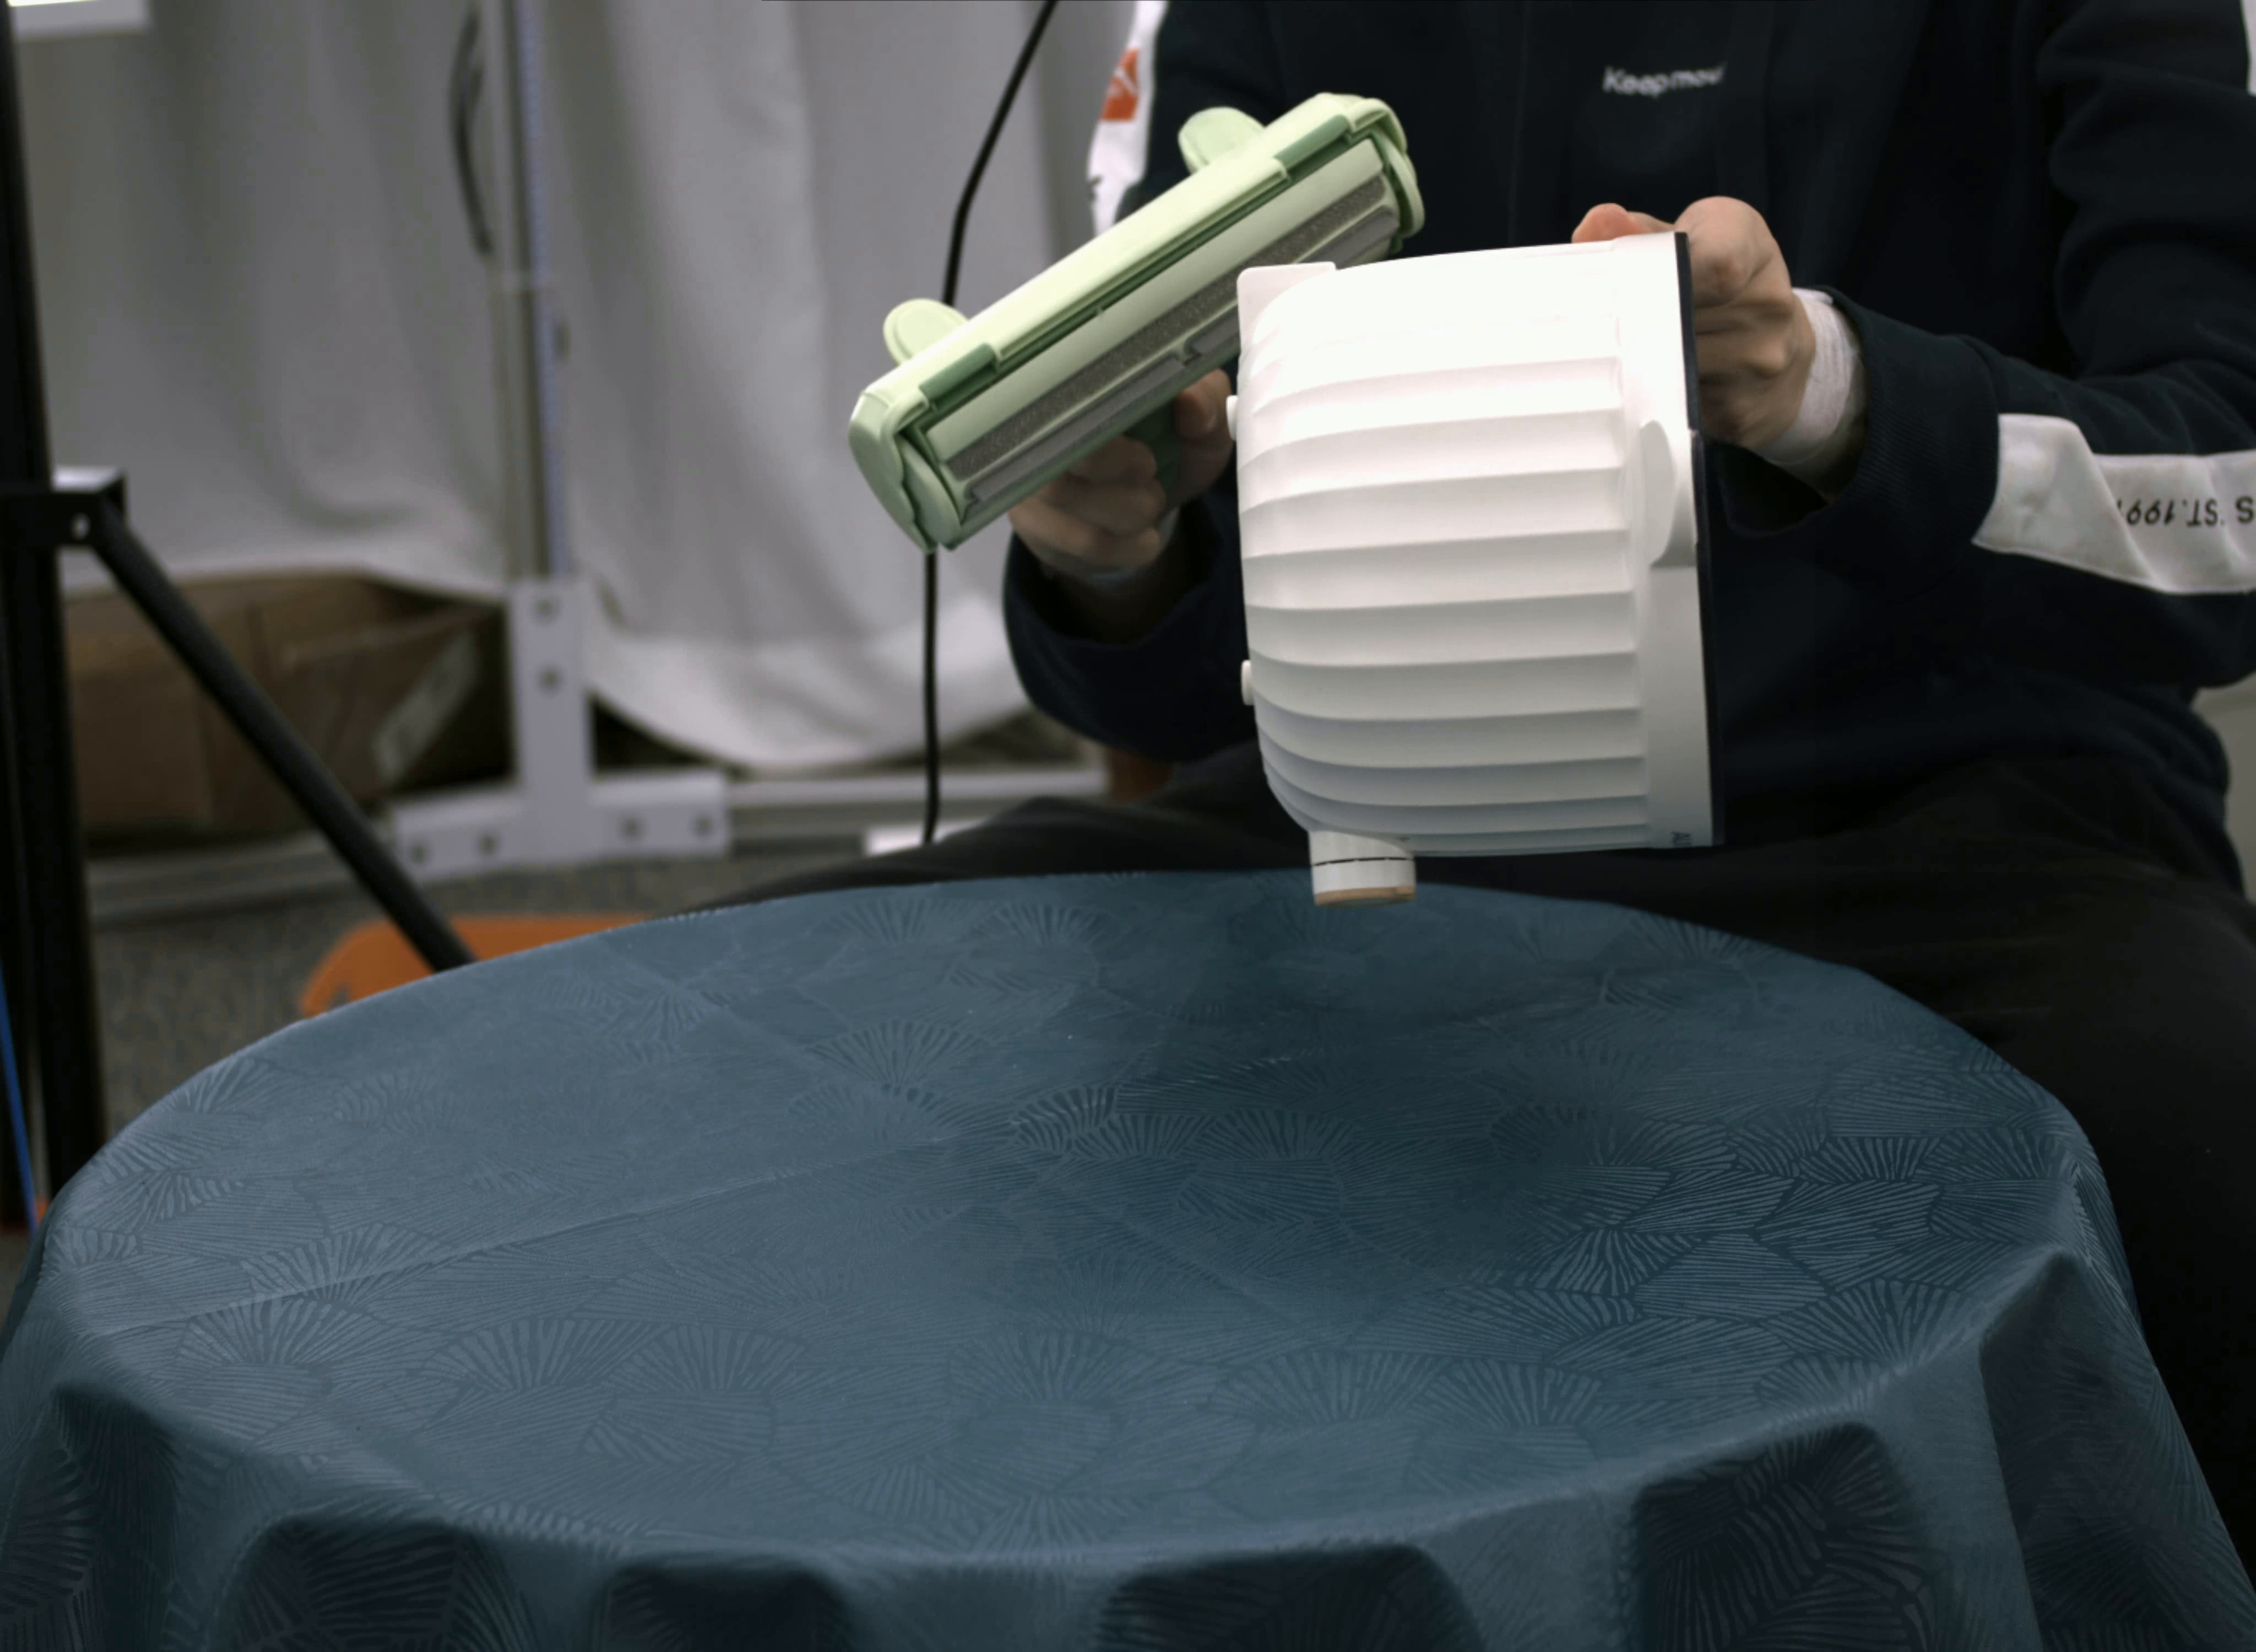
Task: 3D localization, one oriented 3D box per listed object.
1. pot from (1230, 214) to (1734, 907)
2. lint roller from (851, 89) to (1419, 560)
[{"bbox_3d":[0.105,-0.076,1.564,0.143,0.192,0.238,-7,-6,7],"label":"pot"},{"bbox_3d":[-0.009,-0.152,1.714,0.197,0.082,0.184,-35,-5,-14],"label":"lint roller"}]
